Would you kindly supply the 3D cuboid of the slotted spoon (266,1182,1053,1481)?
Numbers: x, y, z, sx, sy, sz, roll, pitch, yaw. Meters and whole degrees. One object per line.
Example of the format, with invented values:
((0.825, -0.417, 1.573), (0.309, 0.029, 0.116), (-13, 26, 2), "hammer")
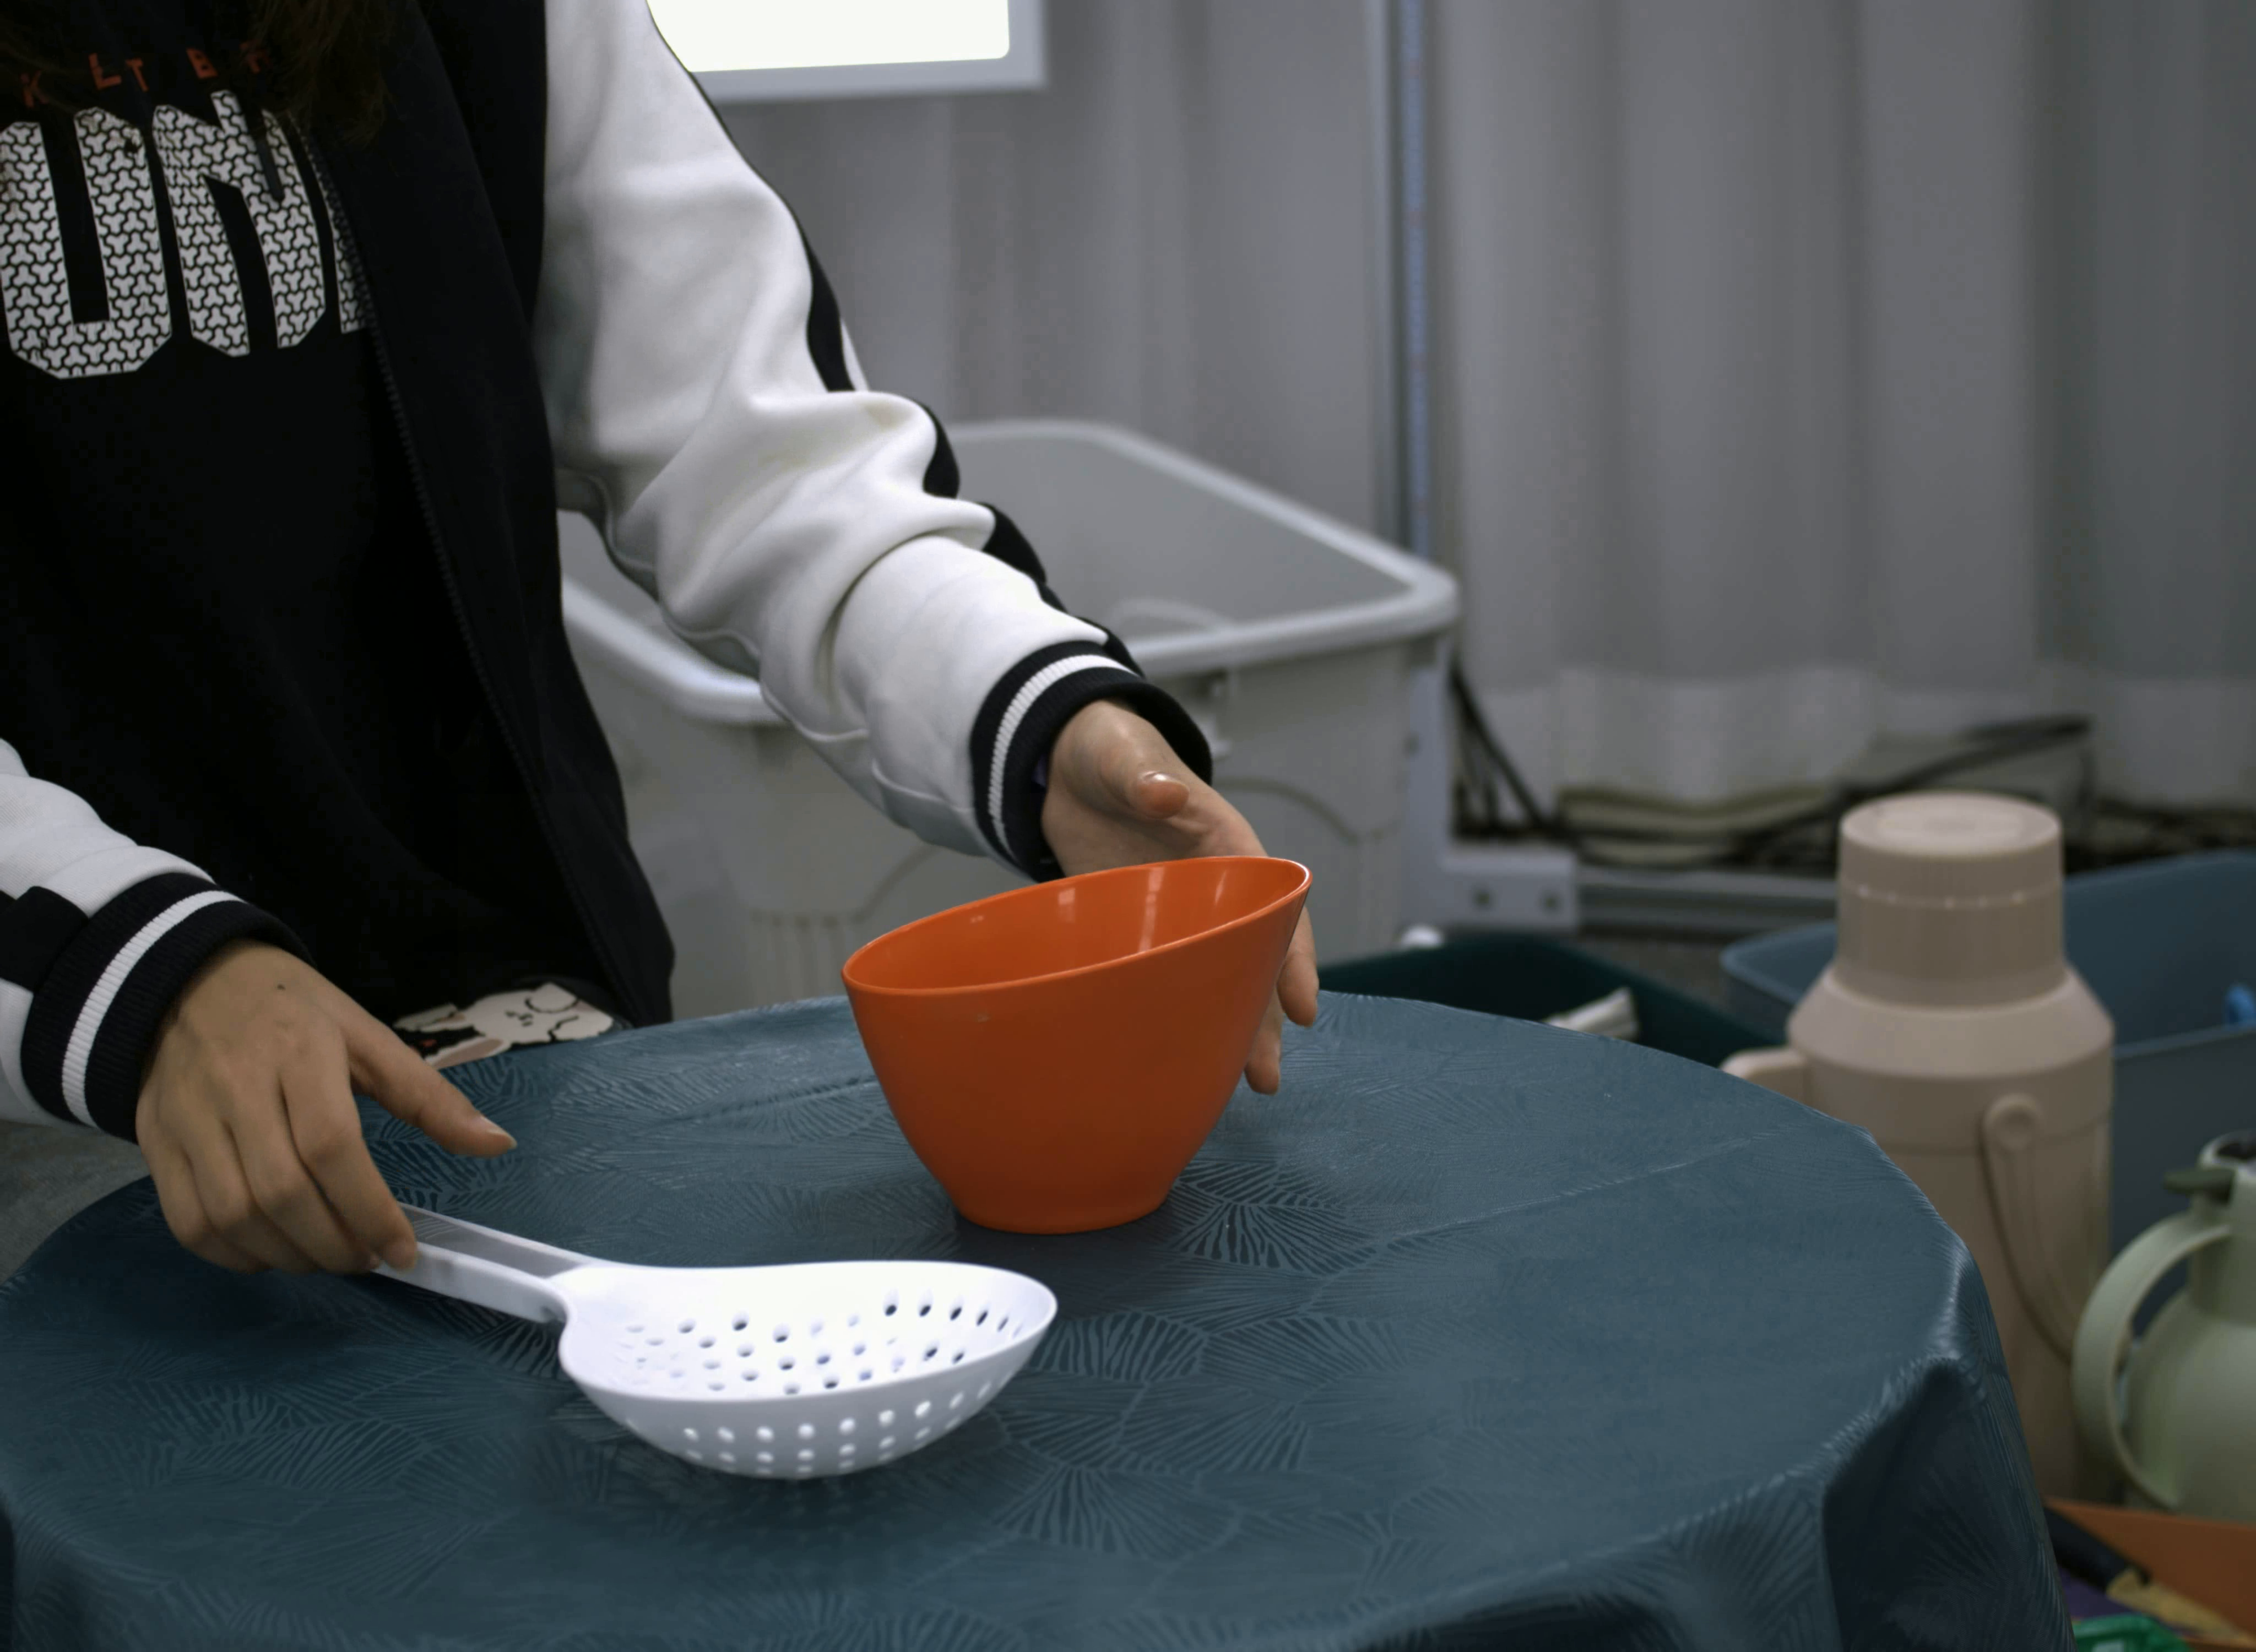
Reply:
((-0.154, 0.136, 1.578), (0.135, 0.045, 0.352), (-12, 17, -36), "slotted spoon")

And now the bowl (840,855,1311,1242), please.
((-0.013, 0.070, 1.691), (0.147, 0.104, 0.149), (-5, 16, 1), "bowl")
